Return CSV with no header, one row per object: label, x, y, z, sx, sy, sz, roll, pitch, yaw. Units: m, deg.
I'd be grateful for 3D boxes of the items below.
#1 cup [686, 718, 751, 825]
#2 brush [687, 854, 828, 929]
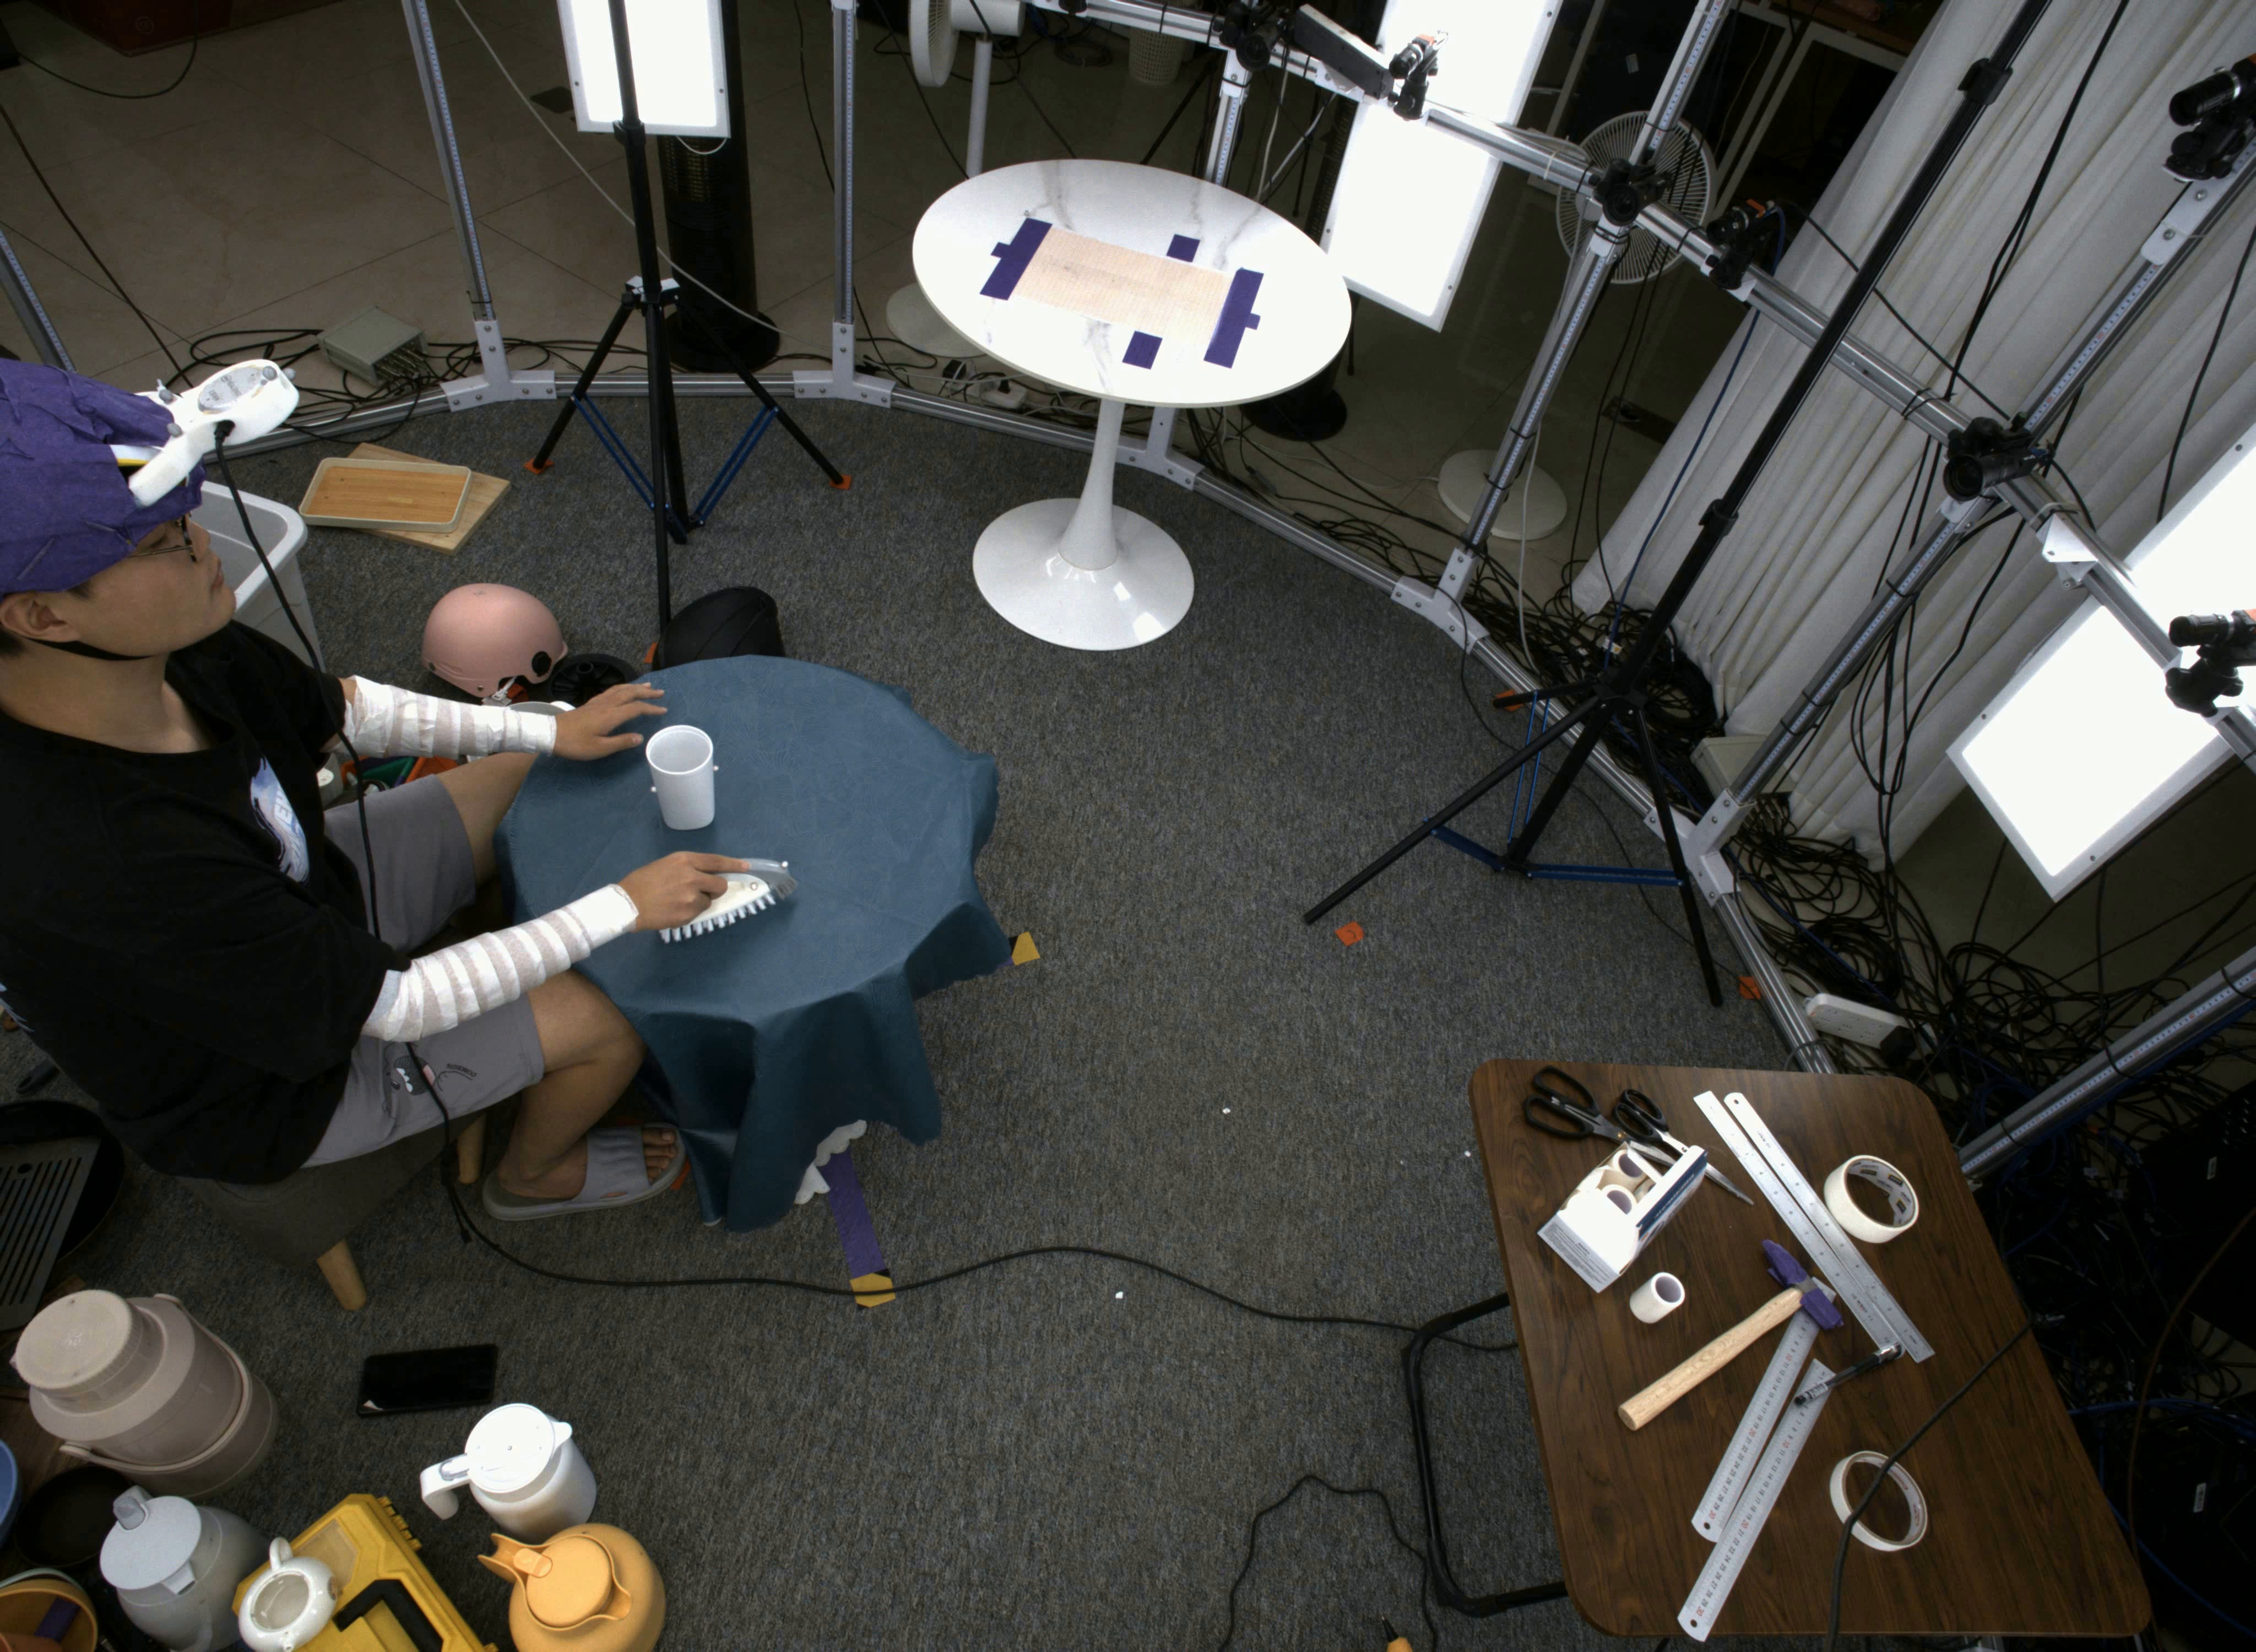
cup,-0.529,-0.068,1.678,0.081,0.128,0.080,7,52,-8
brush,-0.459,0.064,1.601,0.176,0.096,0.060,-14,61,-21
